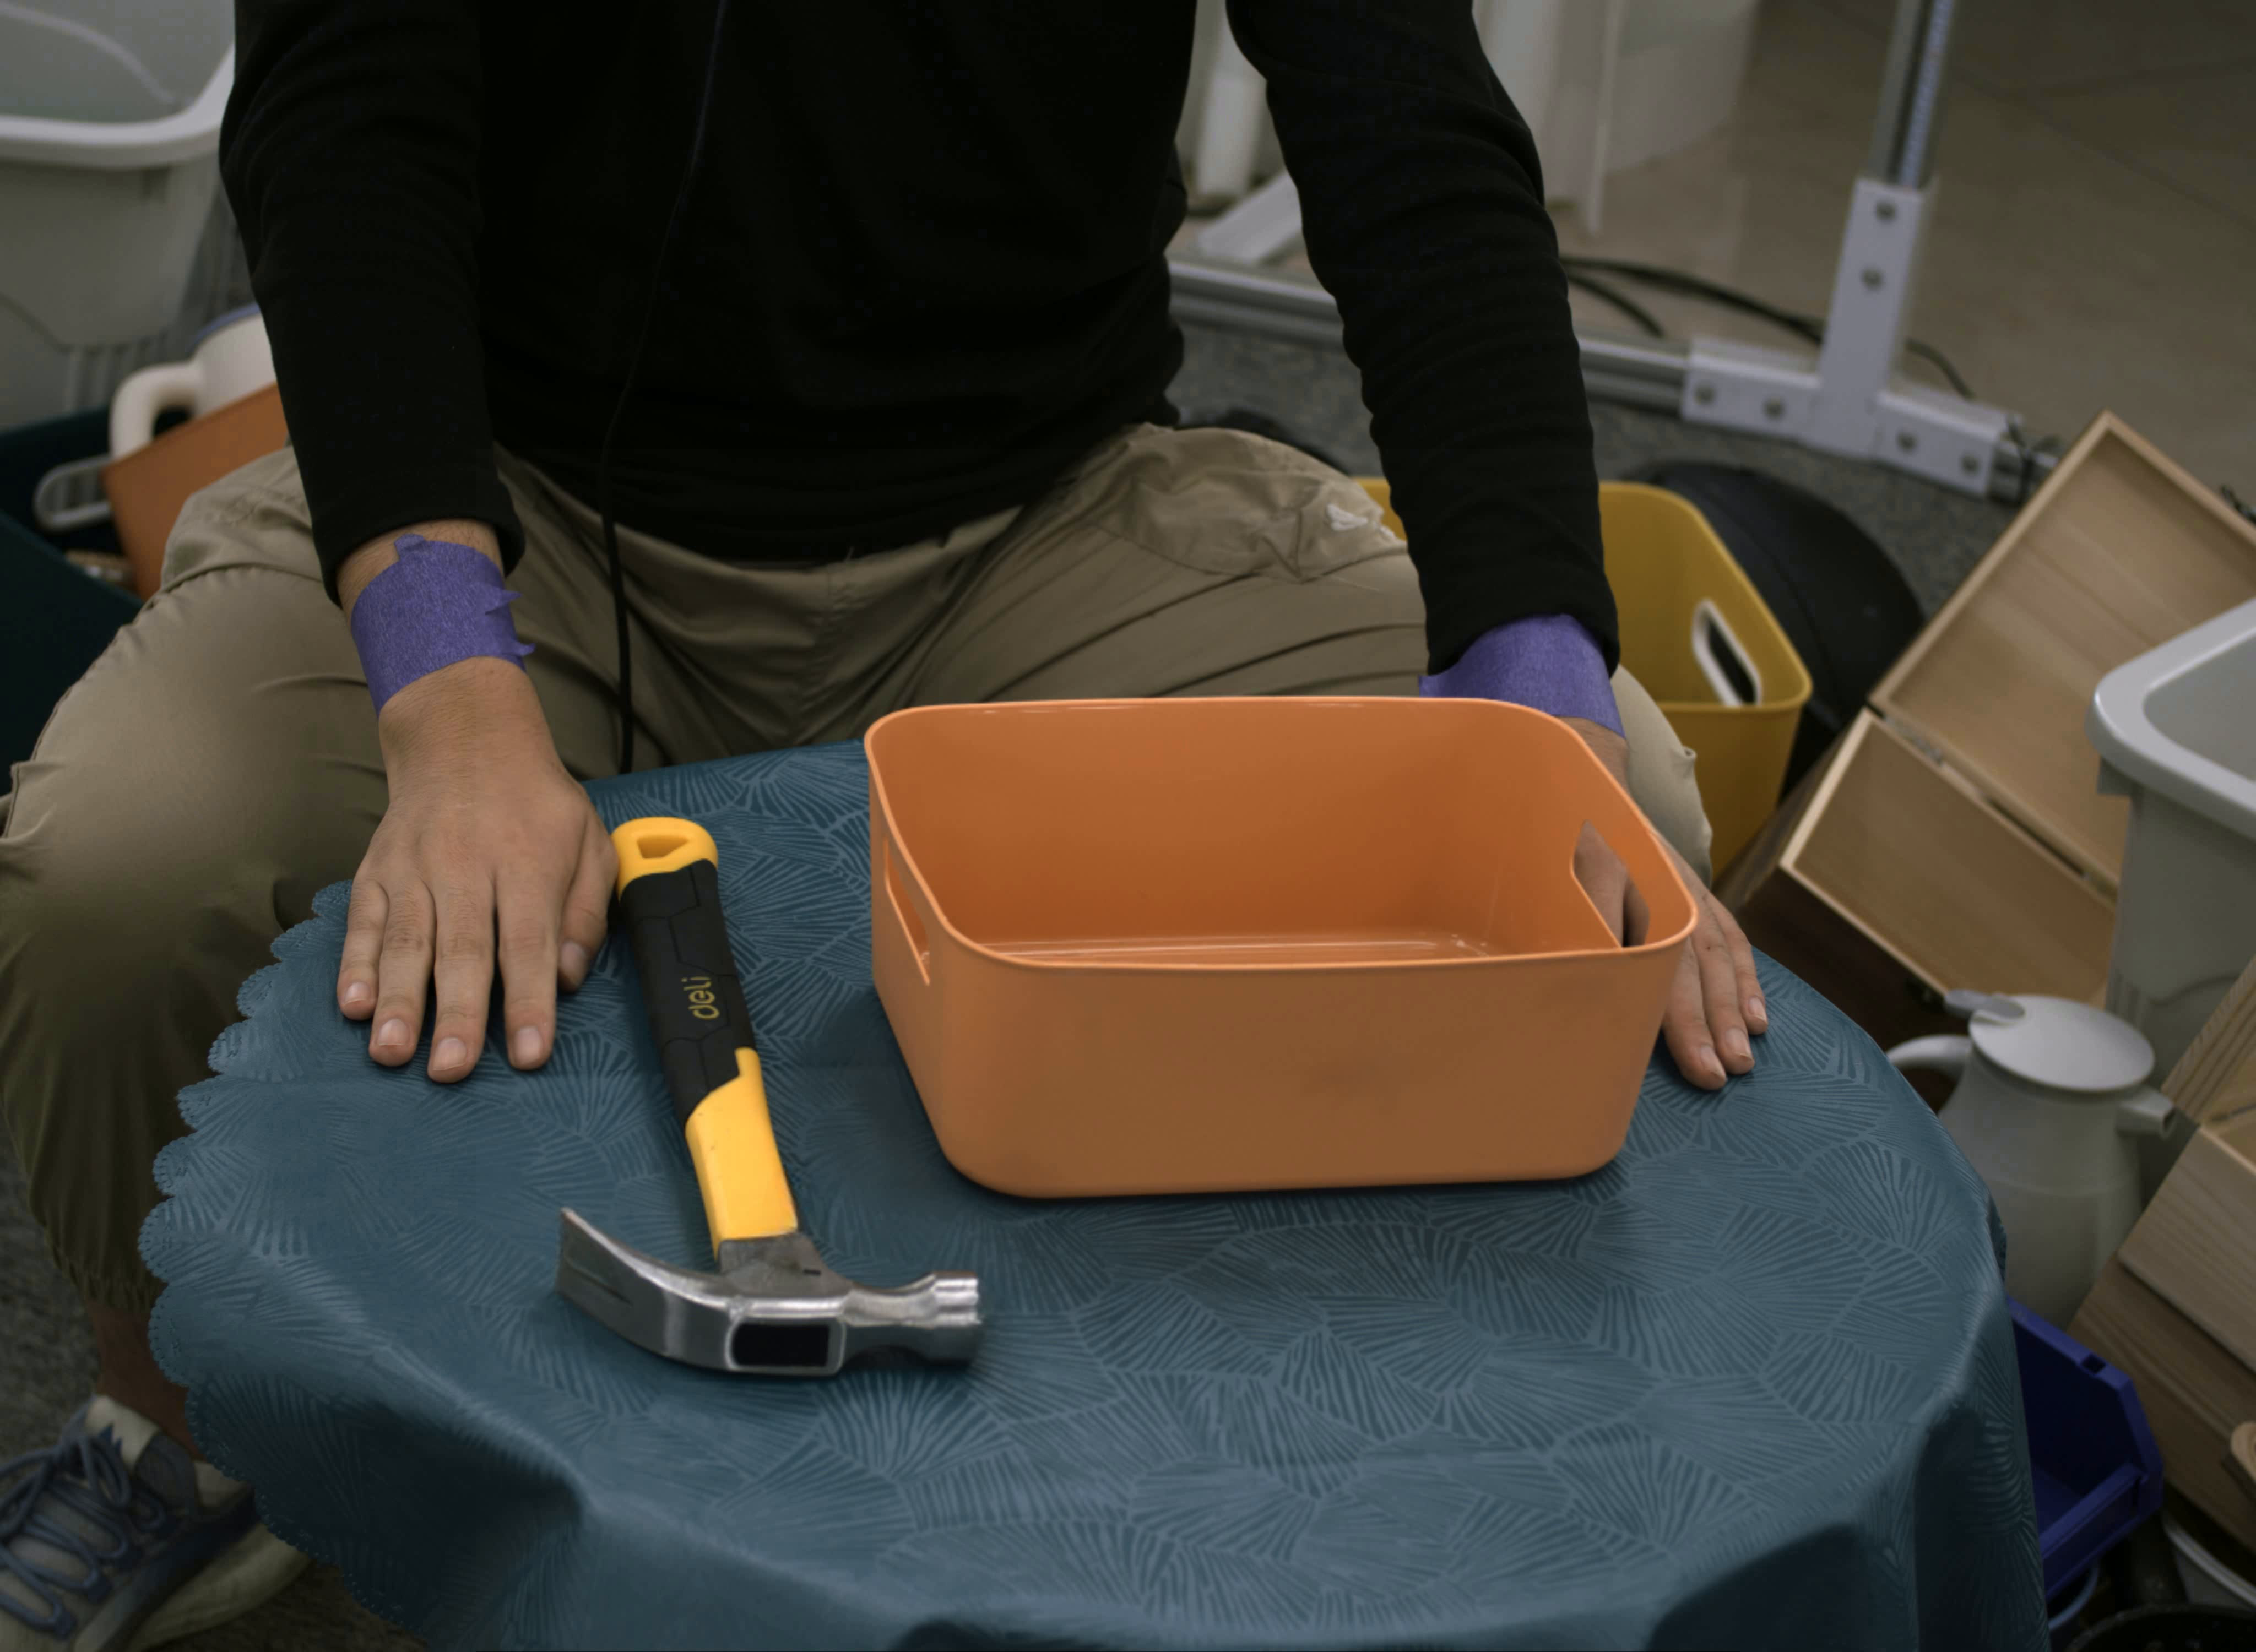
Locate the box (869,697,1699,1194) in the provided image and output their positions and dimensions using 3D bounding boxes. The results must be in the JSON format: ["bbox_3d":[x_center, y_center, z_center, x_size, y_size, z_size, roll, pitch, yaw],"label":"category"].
[{"bbox_3d":[0.045,0.042,1.863,0.271,0.102,0.201,-1,27,-15],"label":"box"}]

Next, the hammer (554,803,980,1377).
[{"bbox_3d":[-0.140,0.082,1.816,0.131,0.032,0.341,1,28,-12],"label":"hammer"}]
